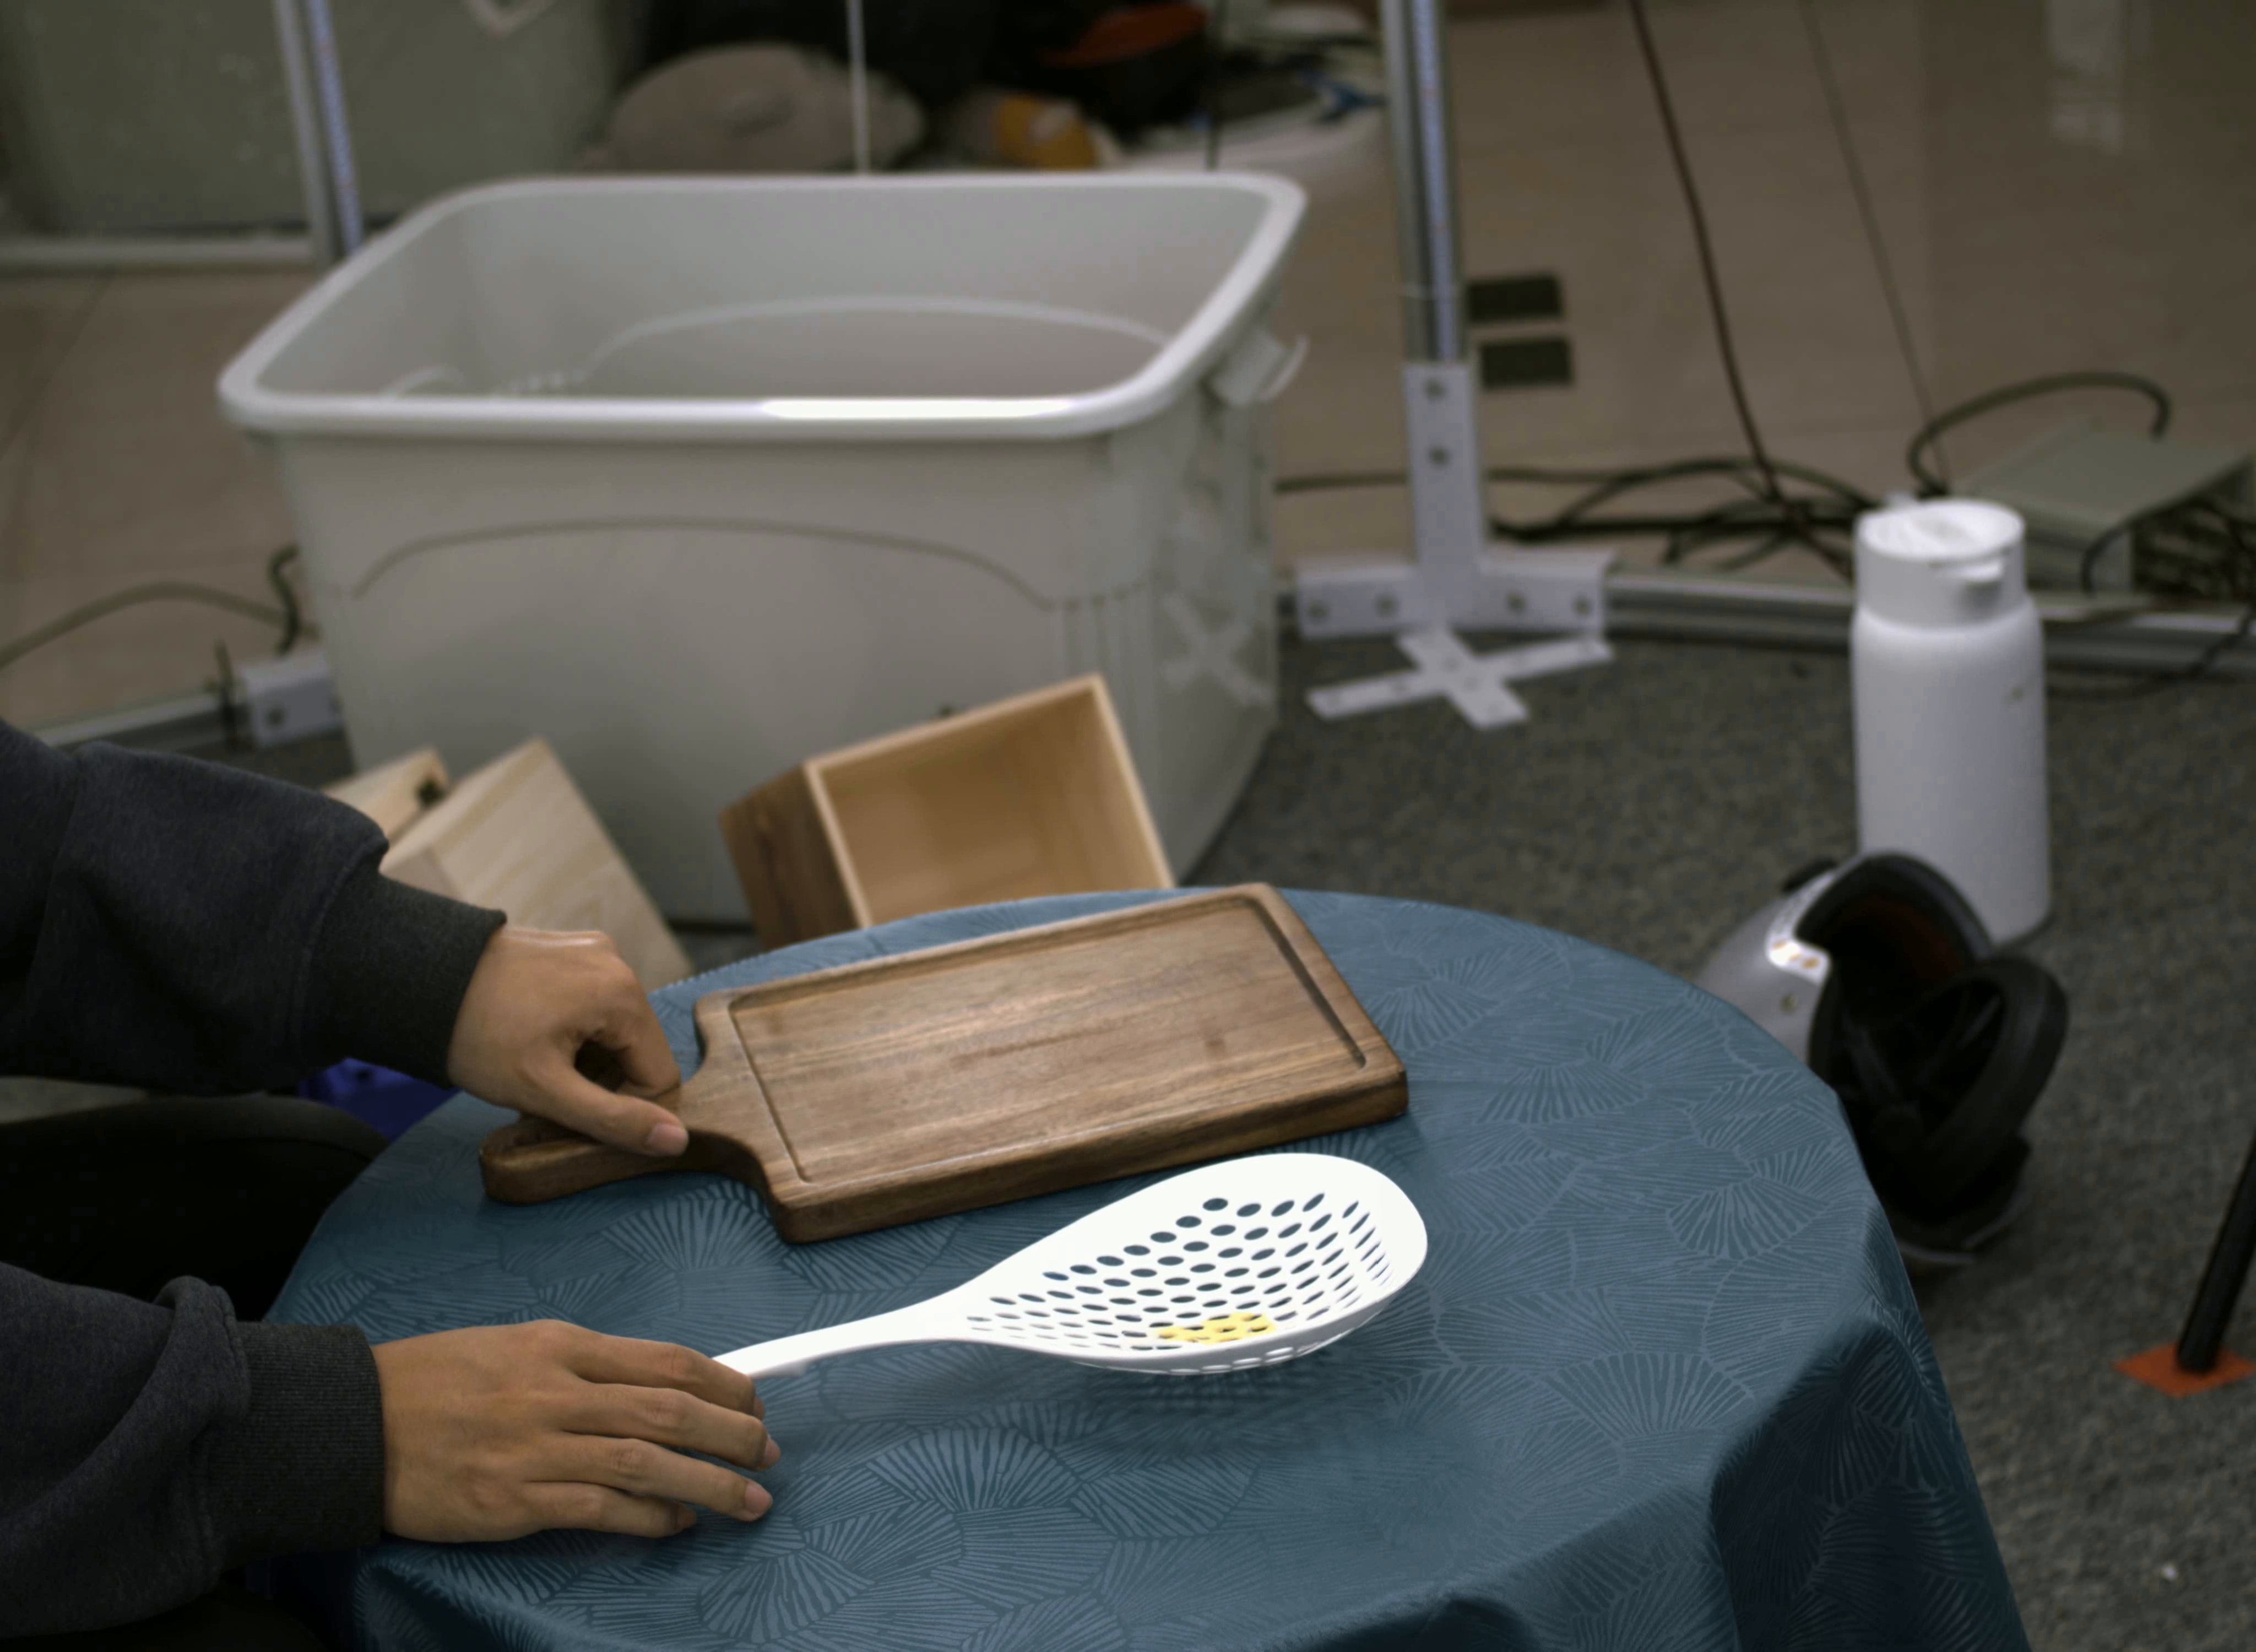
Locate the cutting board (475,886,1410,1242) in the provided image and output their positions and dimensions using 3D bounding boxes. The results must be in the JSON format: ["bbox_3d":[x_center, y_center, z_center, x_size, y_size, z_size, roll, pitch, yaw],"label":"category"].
[{"bbox_3d":[-0.083,0.100,2.227,0.351,0.023,0.198,-11,25,-11],"label":"cutting board"}]

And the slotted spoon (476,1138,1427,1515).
[{"bbox_3d":[-0.063,0.185,2.014,0.347,0.051,0.135,-10,26,-9],"label":"slotted spoon"}]
